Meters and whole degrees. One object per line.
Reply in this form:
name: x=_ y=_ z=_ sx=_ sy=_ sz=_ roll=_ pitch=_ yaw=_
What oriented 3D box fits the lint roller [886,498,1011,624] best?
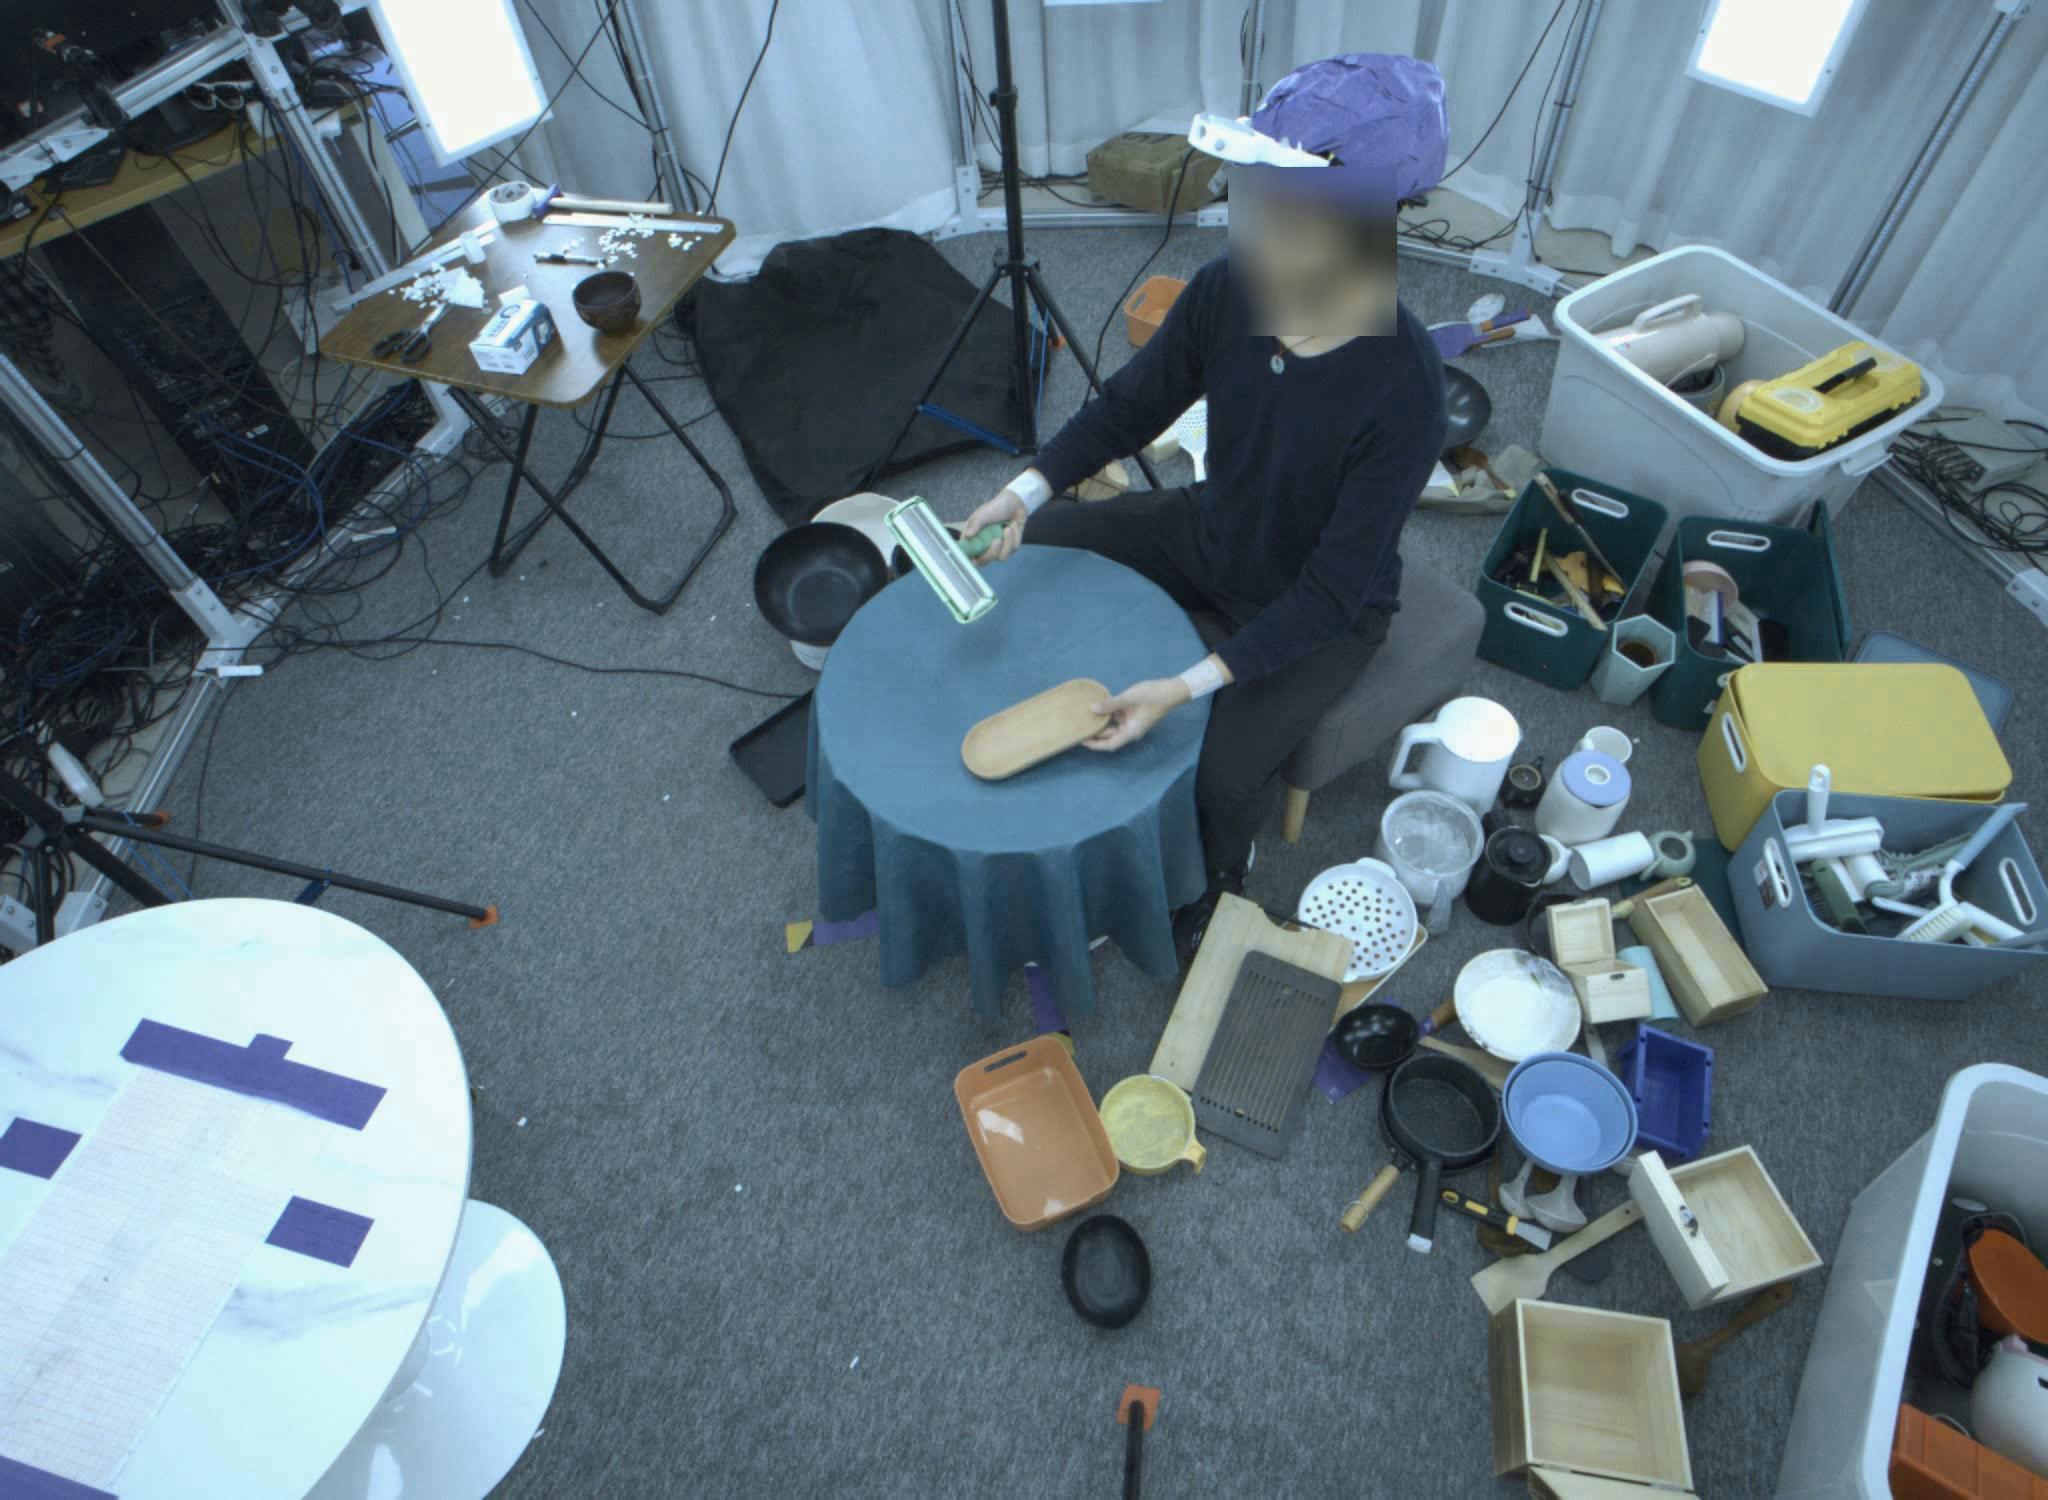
lint roller: x=-0.093 y=-0.285 z=1.790 sx=0.198 sy=0.081 sz=0.185 roll=54 pitch=40 yaw=2

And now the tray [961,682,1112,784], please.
tray: x=0.018 y=-0.024 z=1.769 sx=0.231 sy=0.020 sz=0.100 roll=-25 pitch=57 yaw=0
